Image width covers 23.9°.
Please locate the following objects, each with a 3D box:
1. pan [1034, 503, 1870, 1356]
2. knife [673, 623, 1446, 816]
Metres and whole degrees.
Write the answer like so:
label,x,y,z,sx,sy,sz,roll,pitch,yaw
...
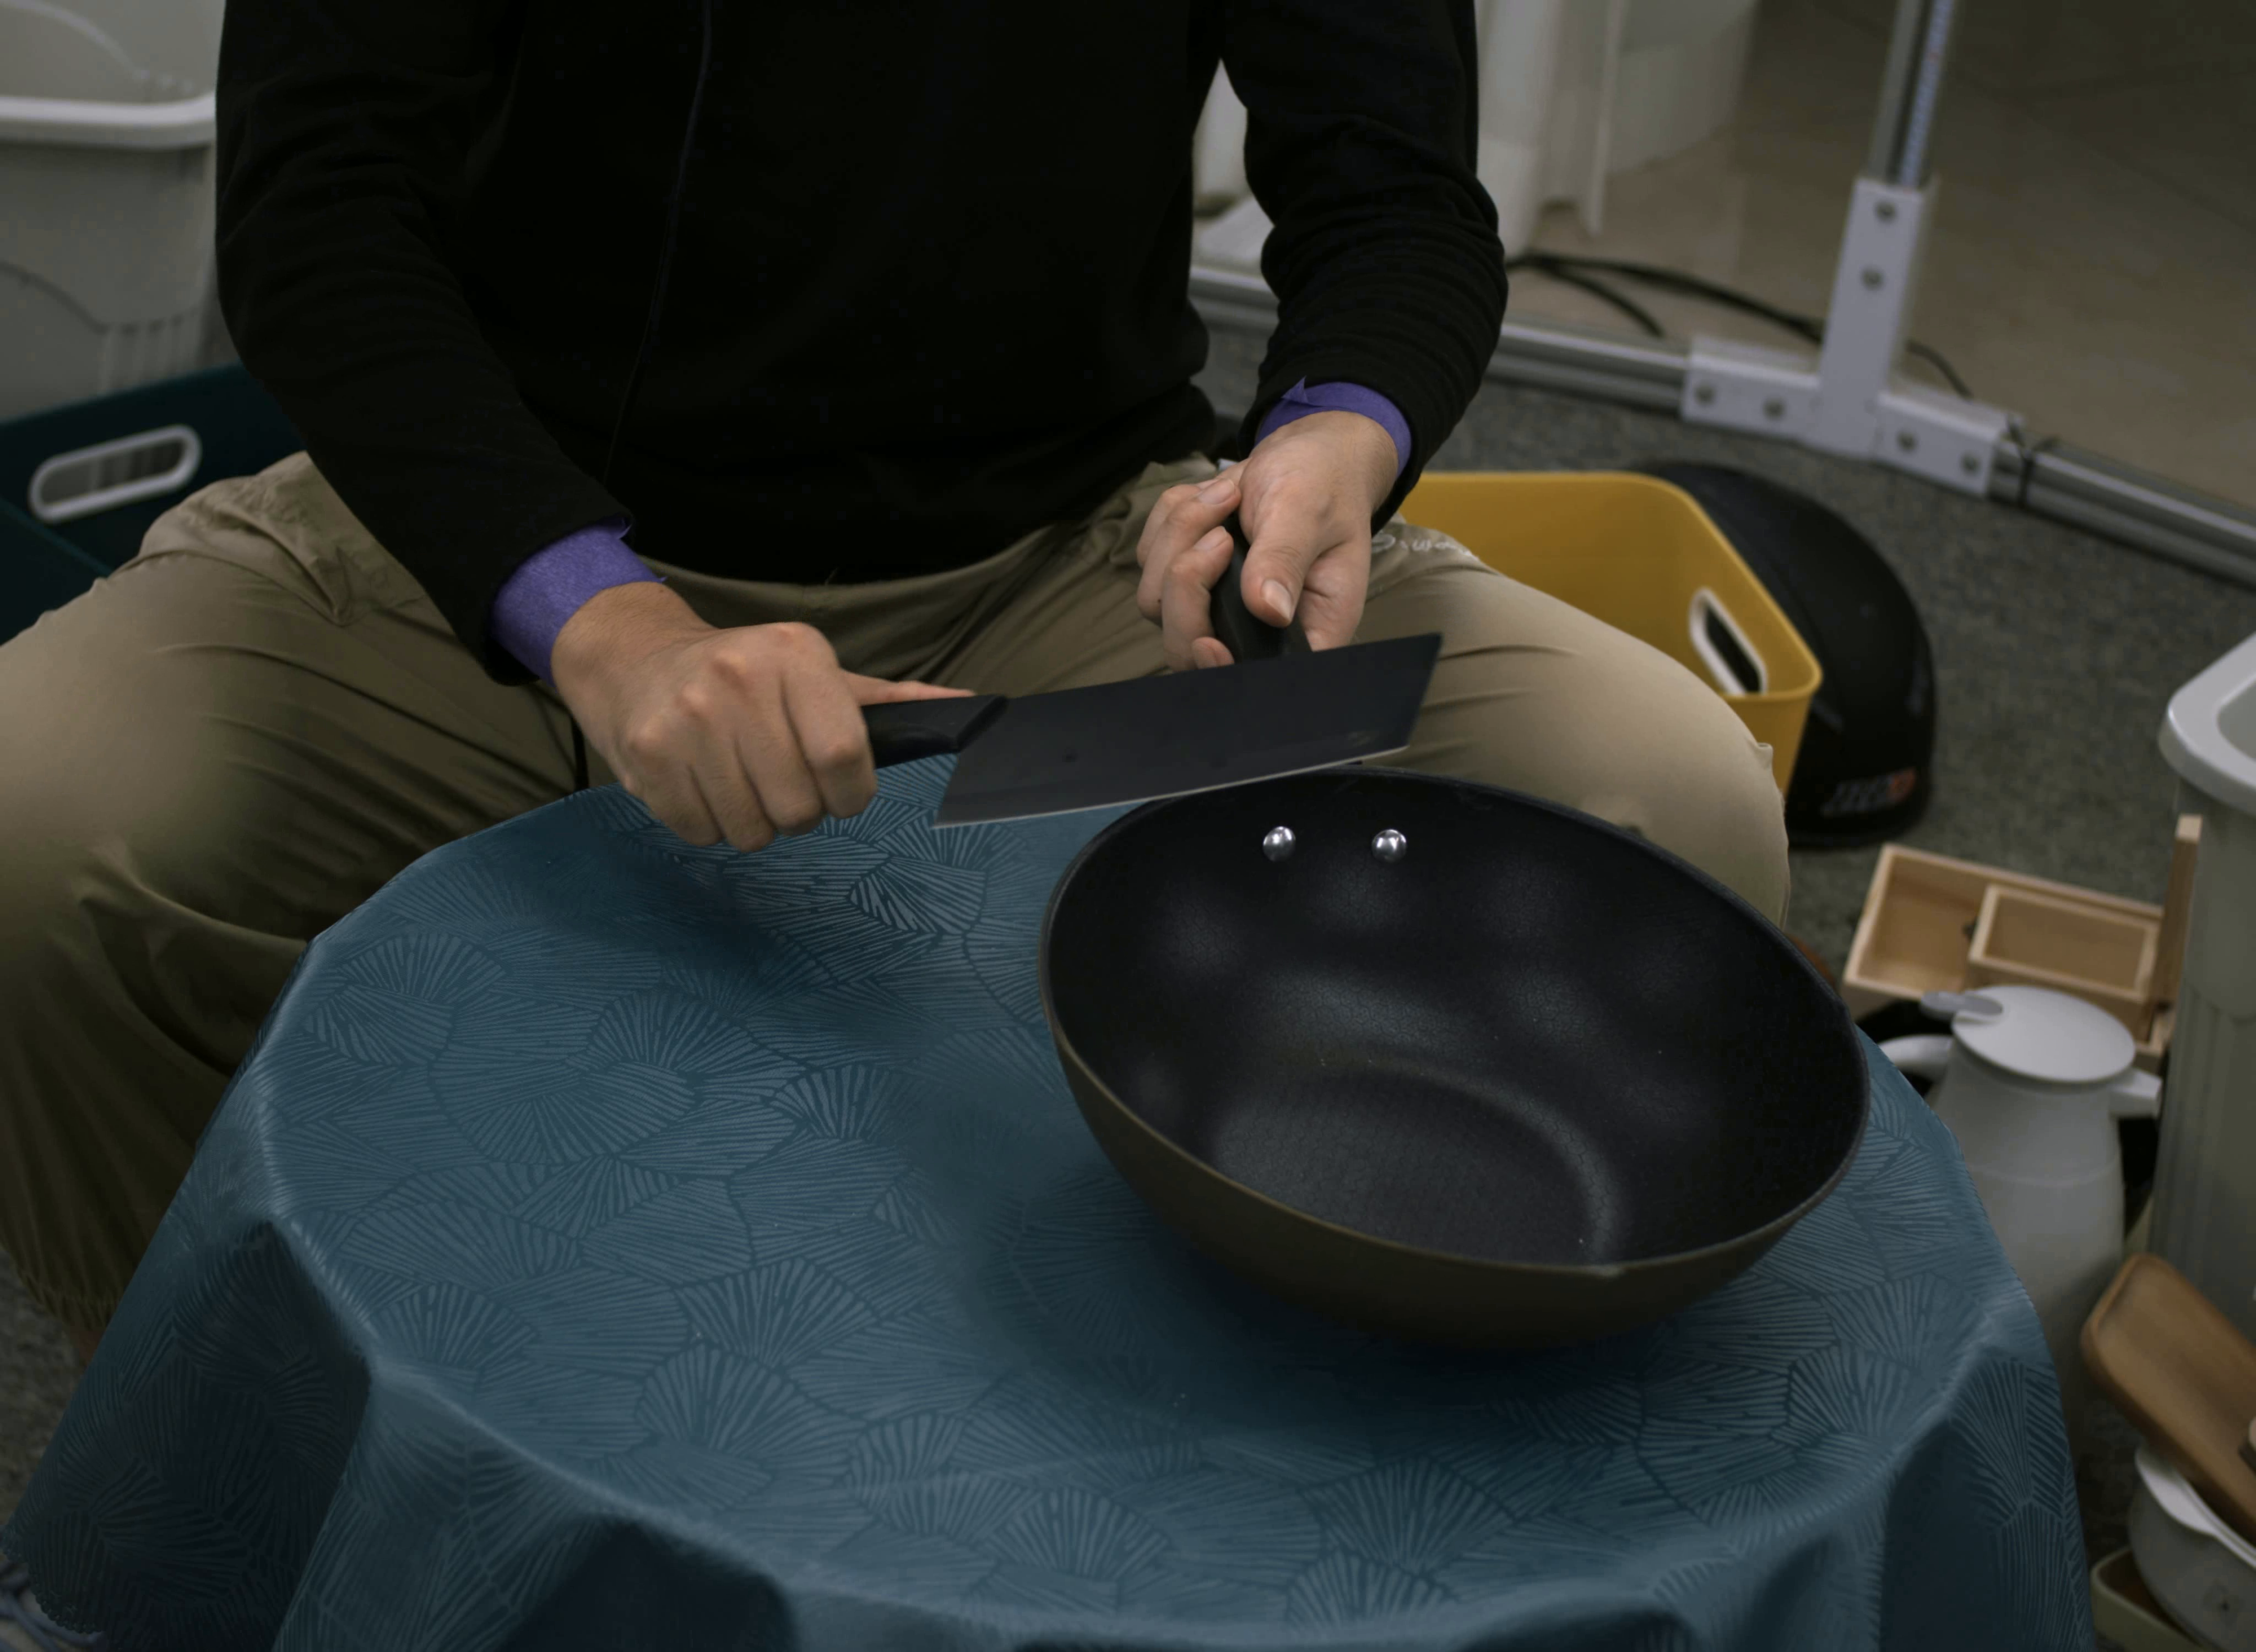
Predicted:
label,x,y,z,sx,sy,sz,roll,pitch,yaw
pan,0.079,0.039,1.854,0.286,0.086,0.467,0,34,-18
knife,-0.029,-0.030,1.853,0.303,0.020,0.081,-6,40,30
